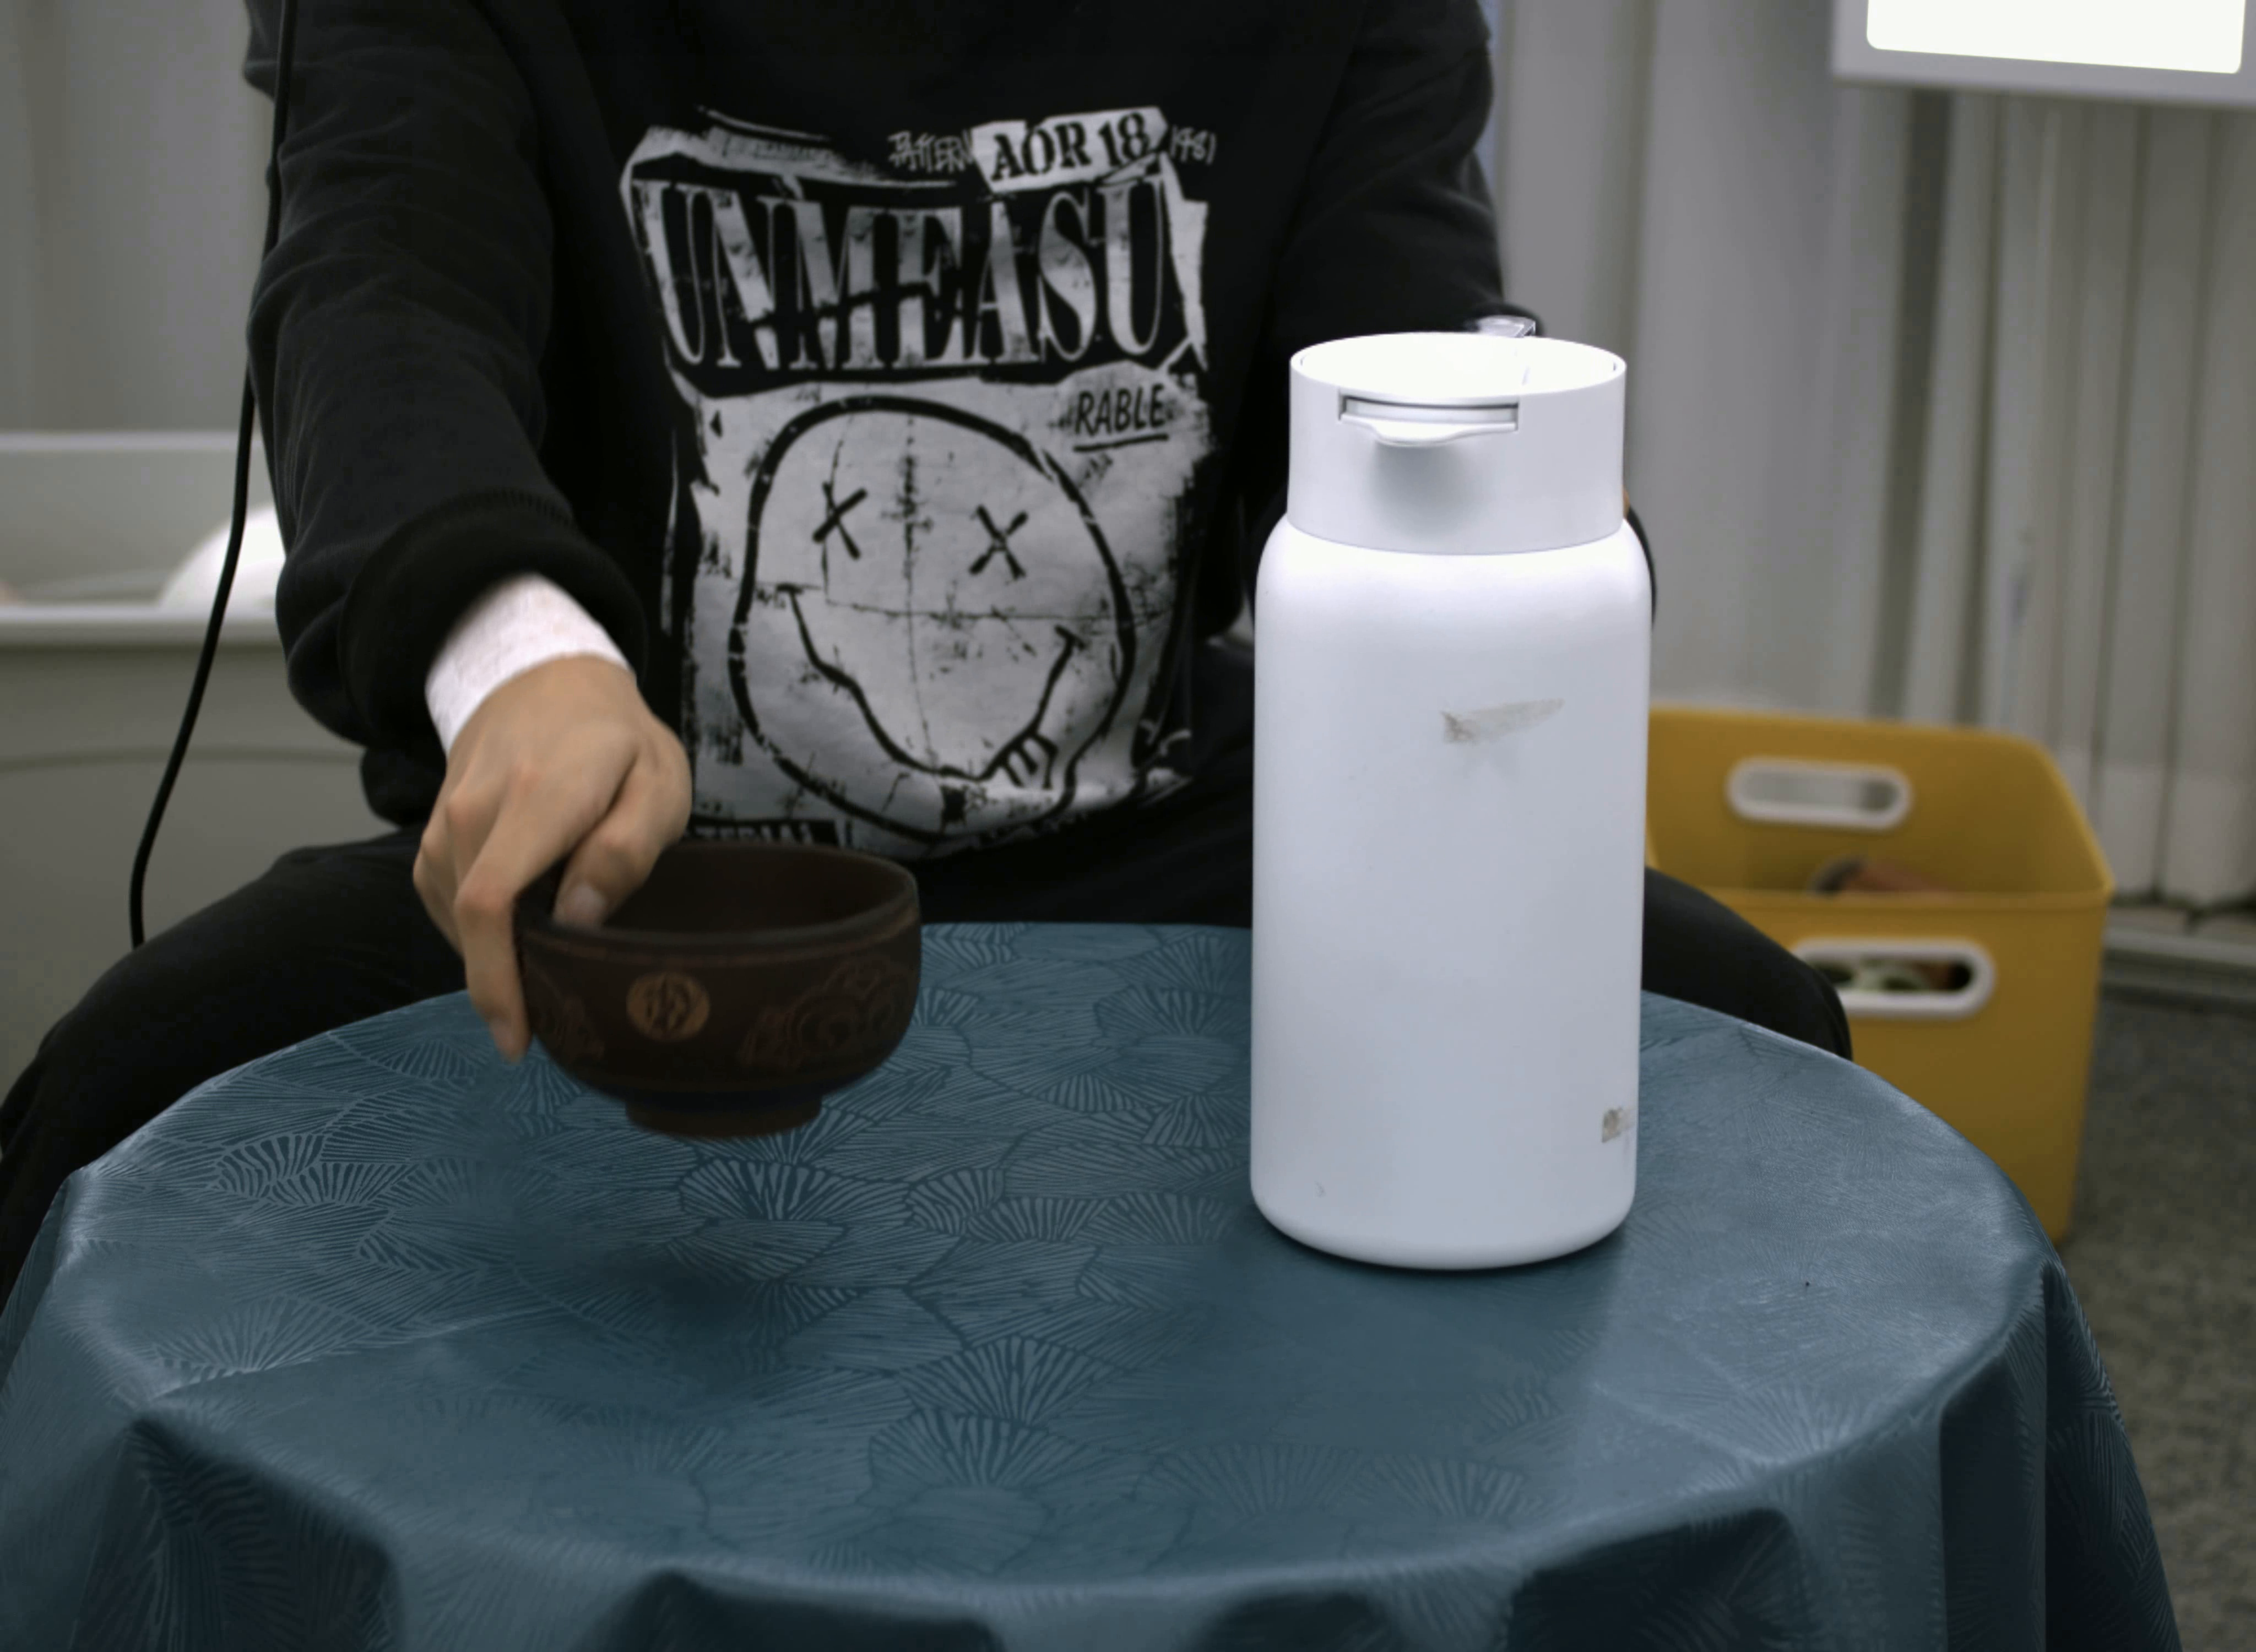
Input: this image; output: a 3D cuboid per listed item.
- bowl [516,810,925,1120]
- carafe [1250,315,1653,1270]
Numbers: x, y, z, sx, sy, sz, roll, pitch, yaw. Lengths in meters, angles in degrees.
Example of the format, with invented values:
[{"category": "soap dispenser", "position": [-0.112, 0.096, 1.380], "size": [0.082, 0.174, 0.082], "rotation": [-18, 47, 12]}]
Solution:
[{"category": "bowl", "position": [-0.118, 0.043, 1.523], "size": [0.117, 0.070, 0.117], "rotation": [1, 16, 0]}, {"category": "carafe", "position": [0.099, -0.014, 1.582], "size": [0.123, 0.271, 0.172], "rotation": [2, 16, 13]}]
